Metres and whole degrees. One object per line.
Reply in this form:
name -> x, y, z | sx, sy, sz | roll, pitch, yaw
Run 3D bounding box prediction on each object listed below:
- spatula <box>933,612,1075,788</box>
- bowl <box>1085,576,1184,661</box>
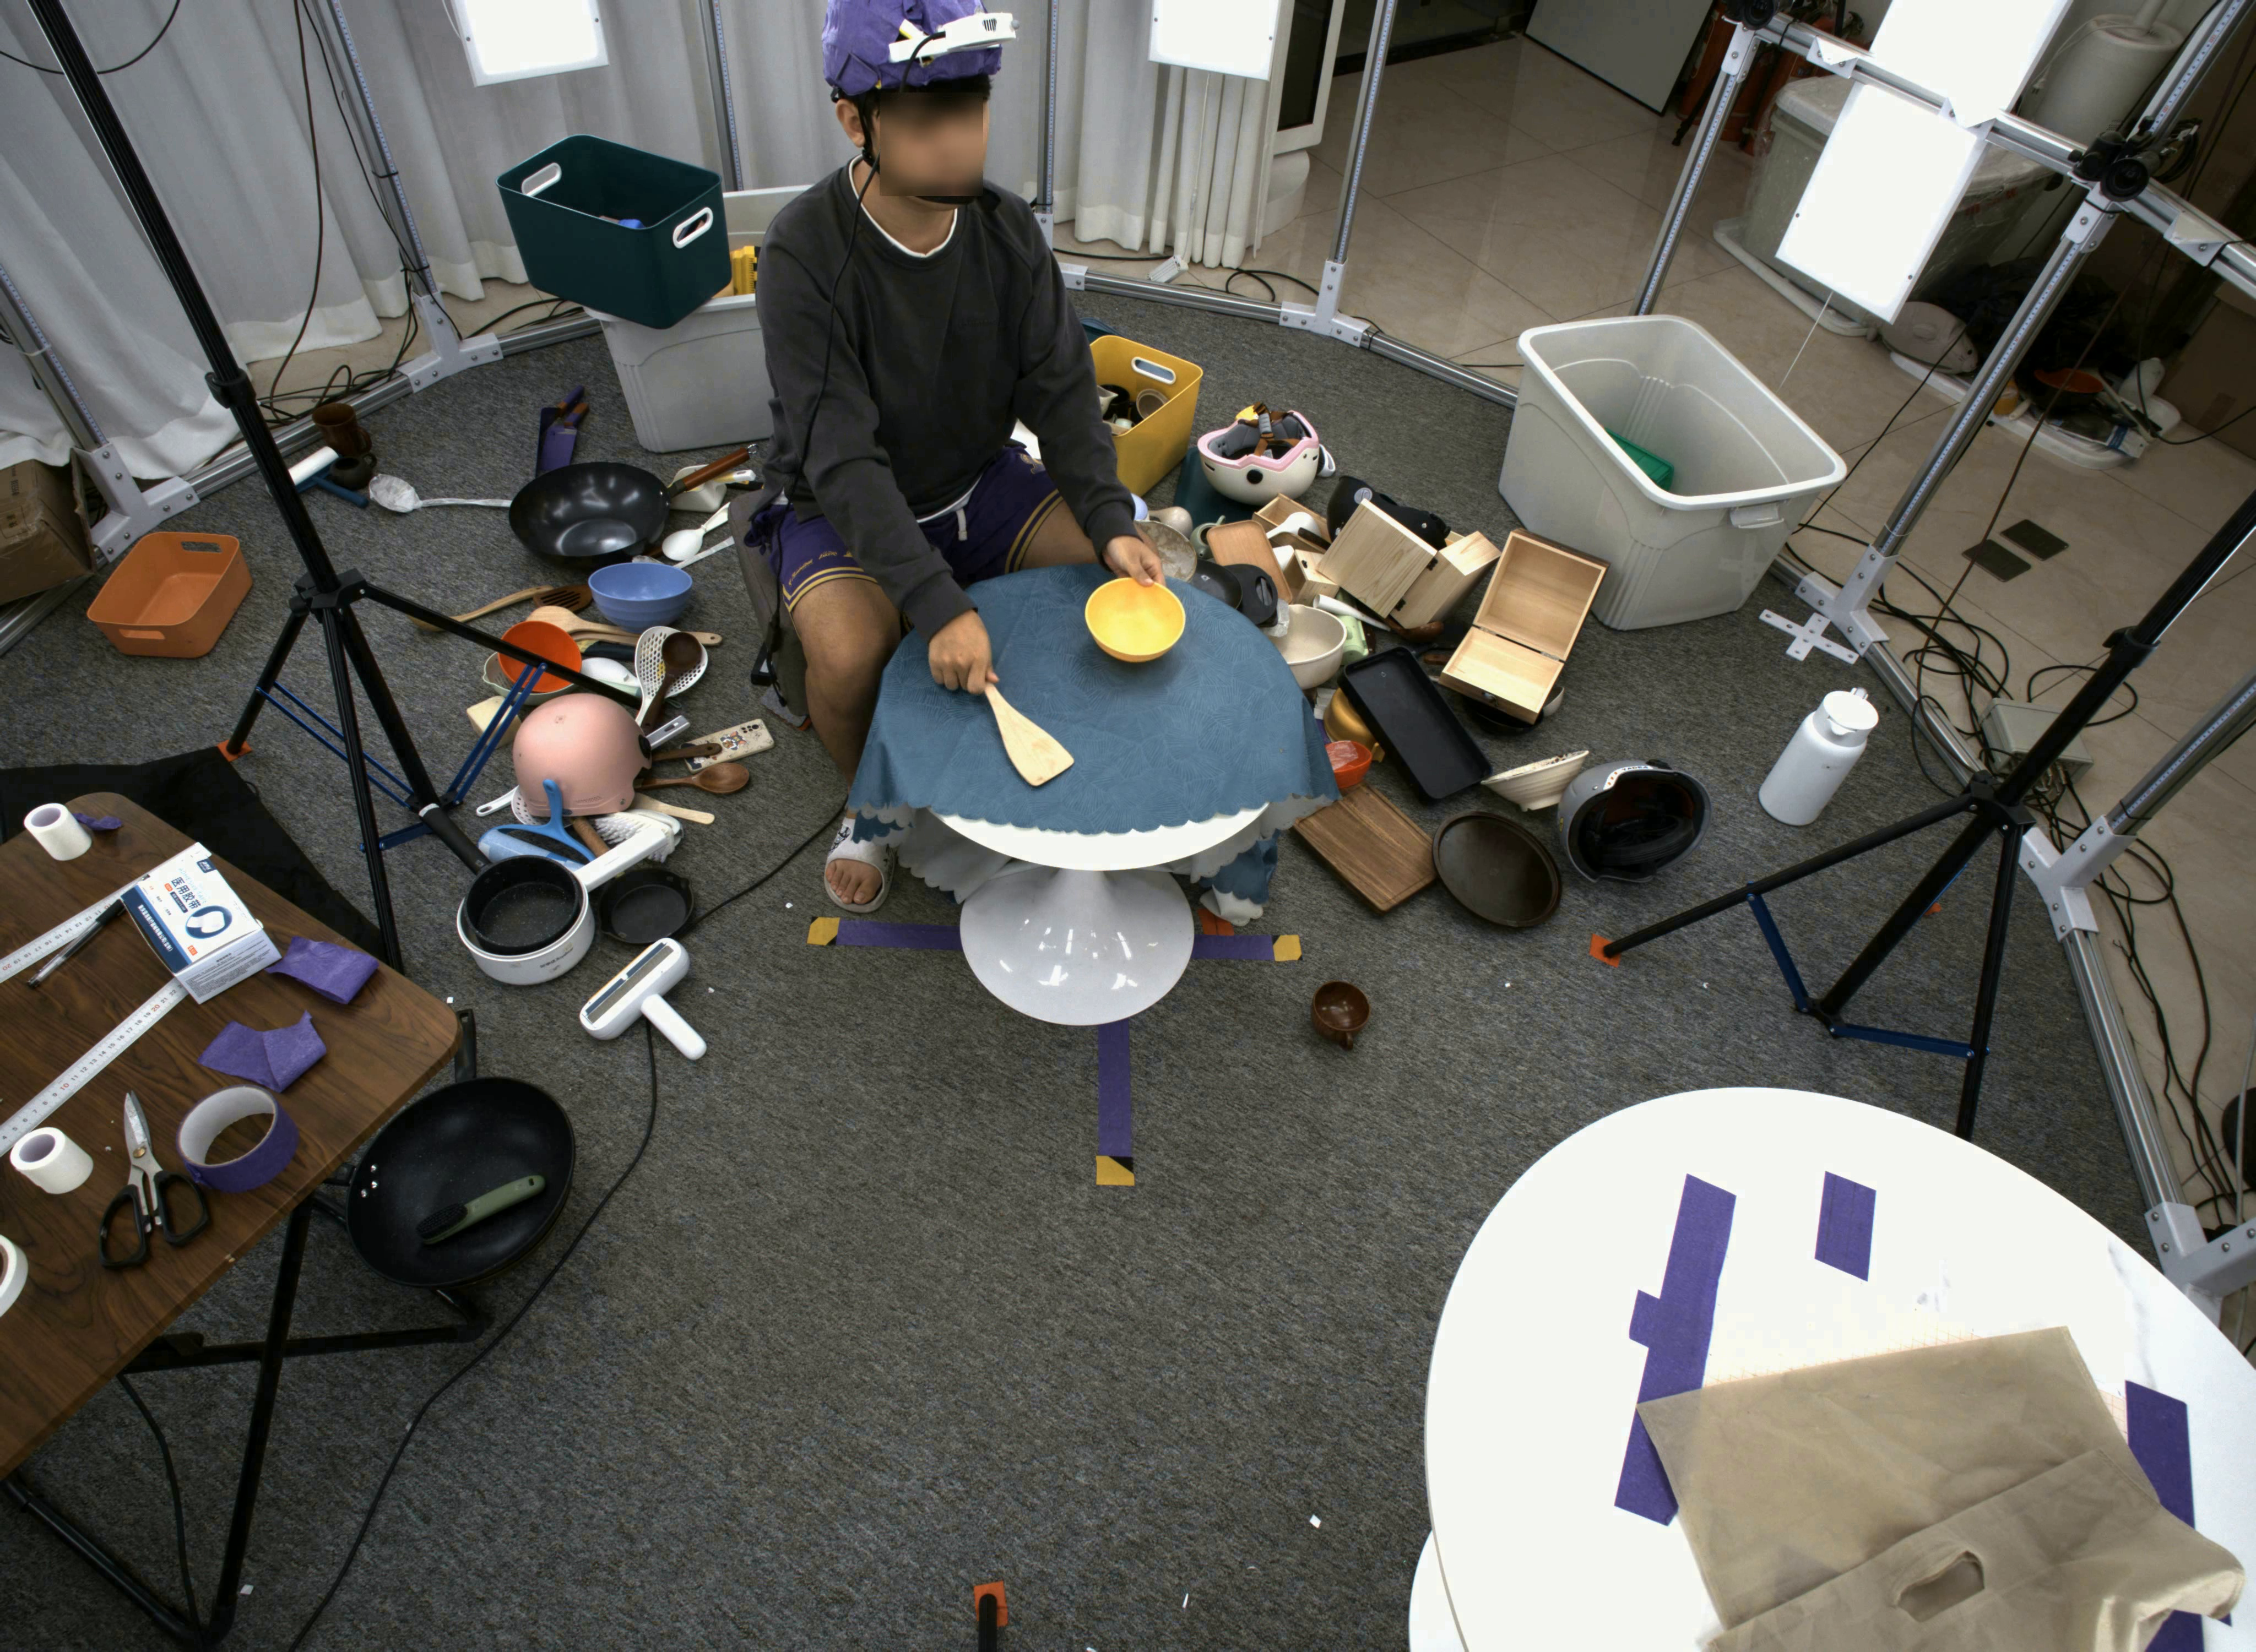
spatula -> -0.183, -0.184, 1.781 | 0.080, 0.016, 0.333 | -23, 63, -26
bowl -> 0.006, -0.291, 1.877 | 0.145, 0.059, 0.149 | 3, 57, -5
